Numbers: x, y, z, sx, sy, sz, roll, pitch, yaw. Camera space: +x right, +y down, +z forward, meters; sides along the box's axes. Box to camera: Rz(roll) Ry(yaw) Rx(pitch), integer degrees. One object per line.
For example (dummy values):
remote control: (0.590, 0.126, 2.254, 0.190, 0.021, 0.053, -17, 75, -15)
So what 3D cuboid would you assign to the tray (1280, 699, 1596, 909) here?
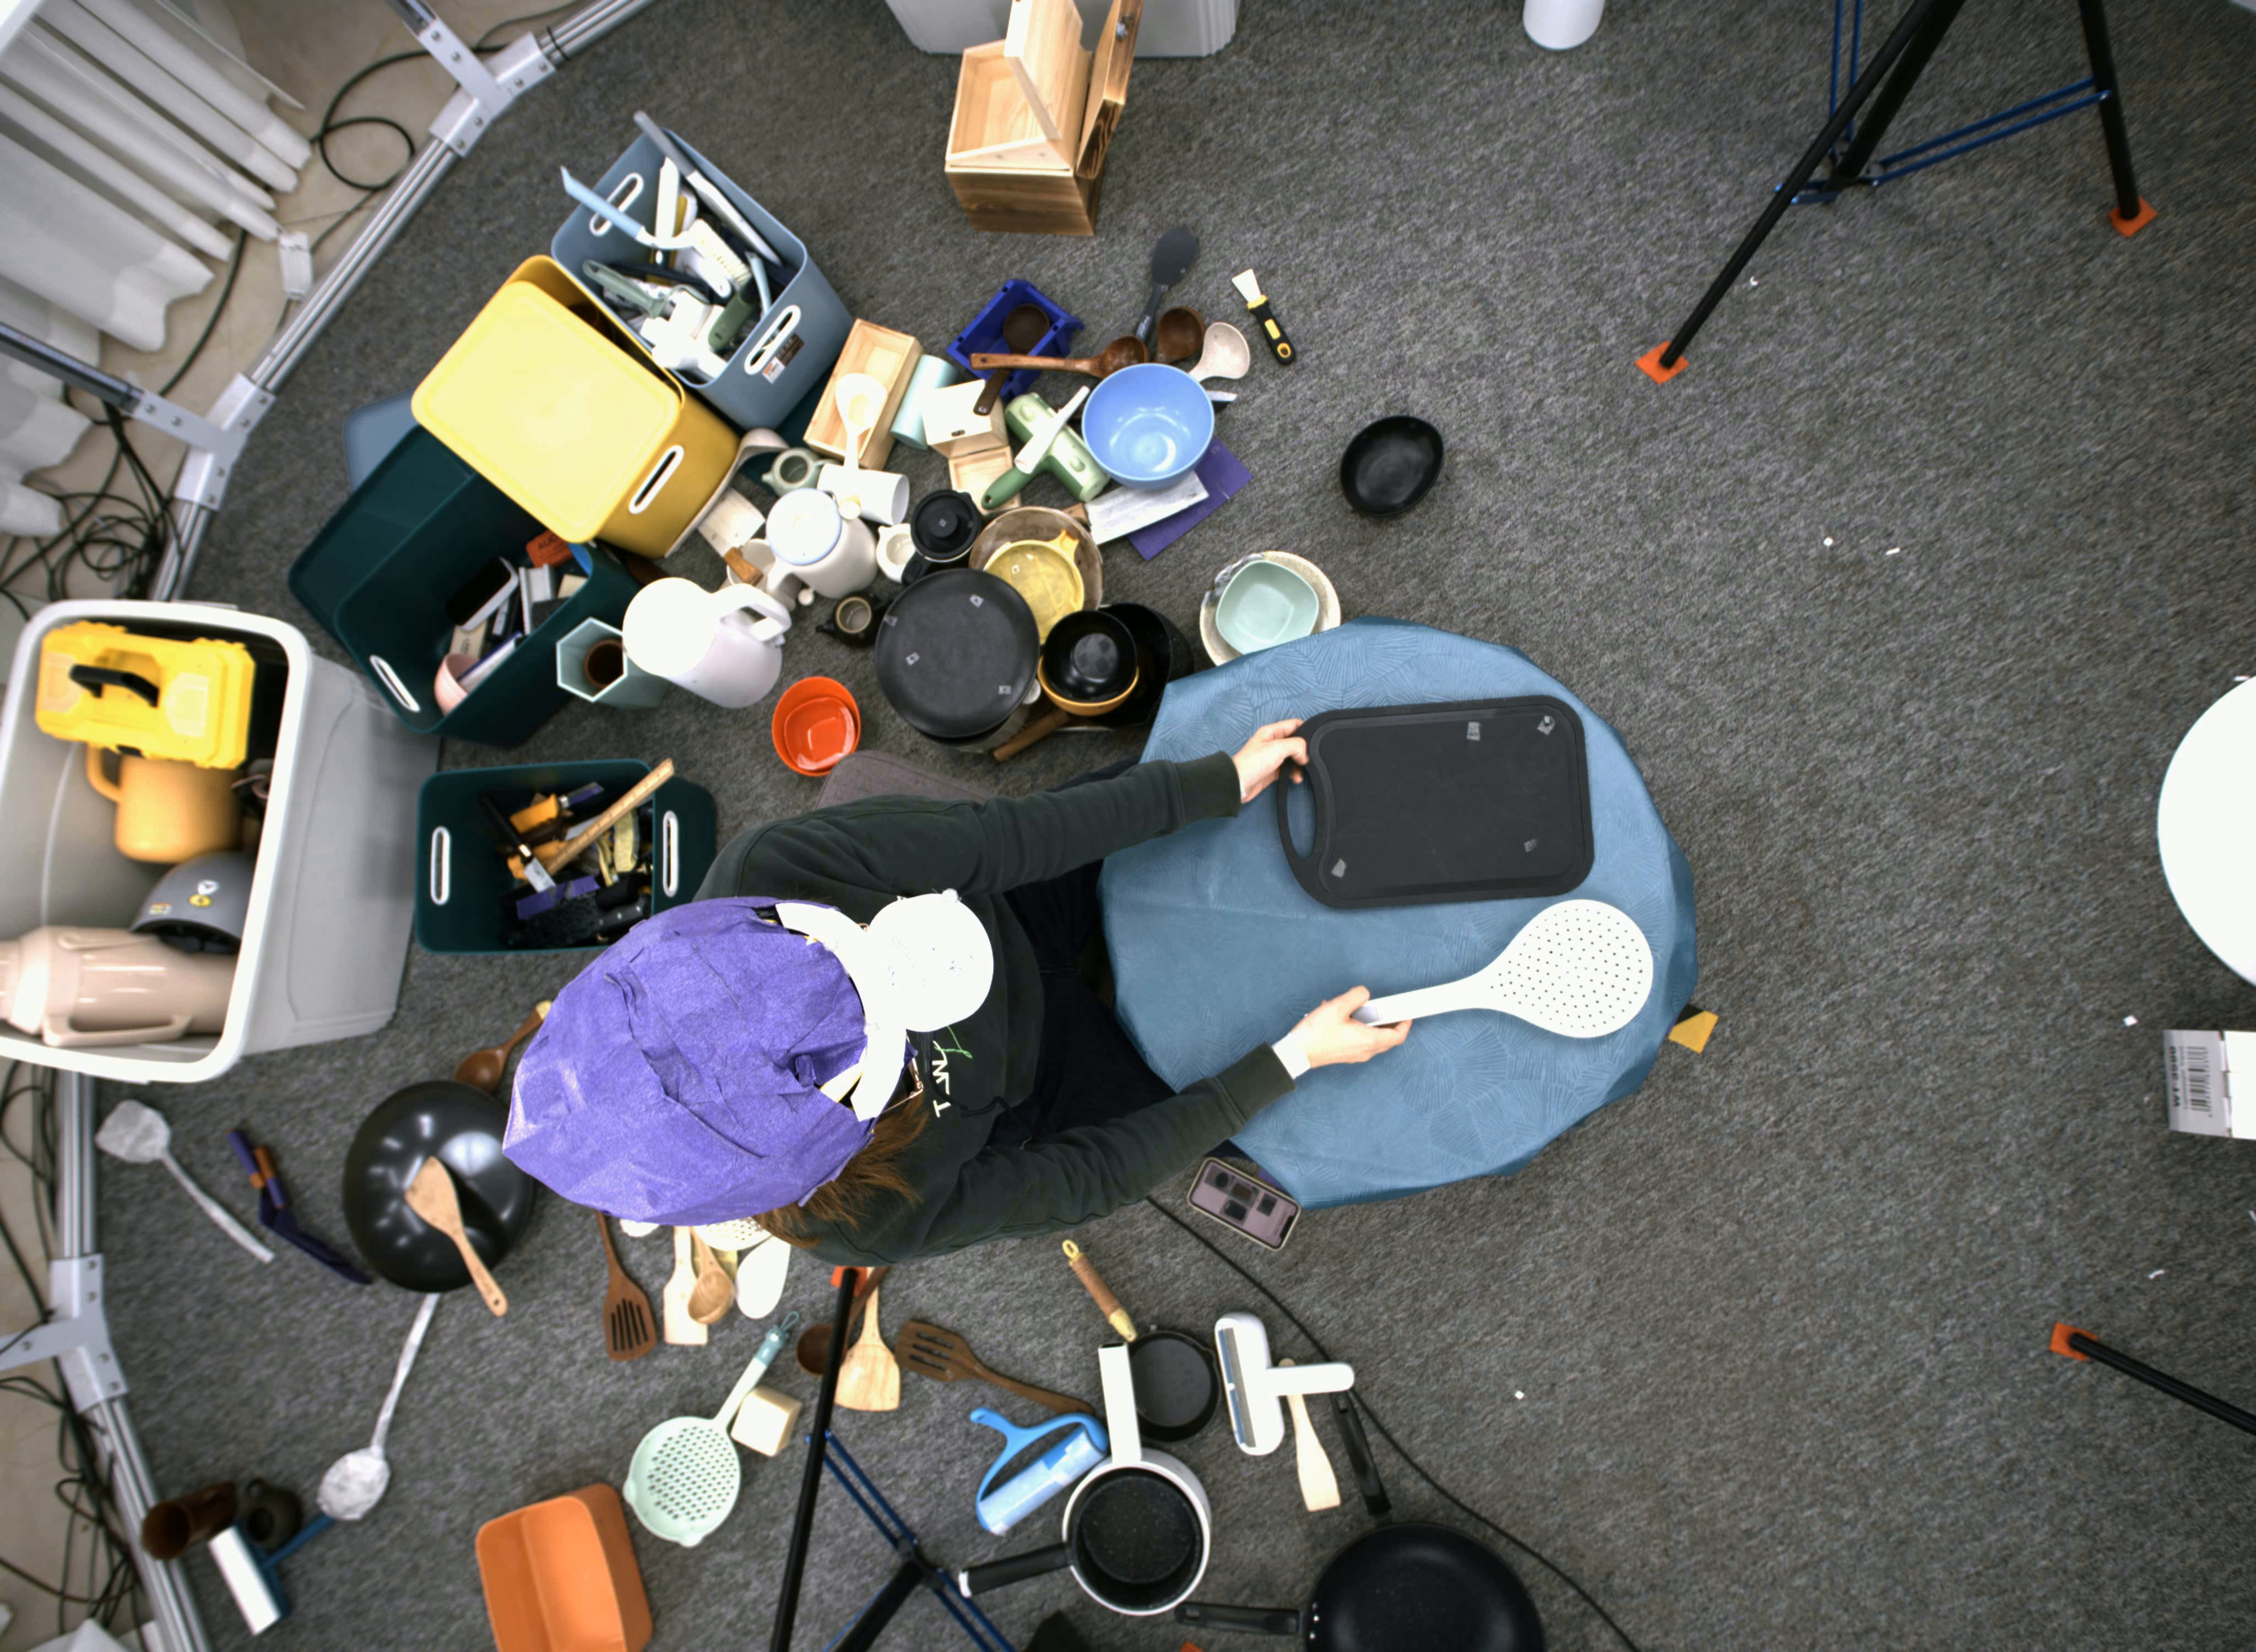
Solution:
tray: (0.322, -0.024, 1.443, 0.326, 0.010, 0.210, -4, 88, 6)

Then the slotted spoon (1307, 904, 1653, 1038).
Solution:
slotted spoon: (0.356, 0.168, 1.409, 0.351, 0.046, 0.135, -12, 84, 4)
